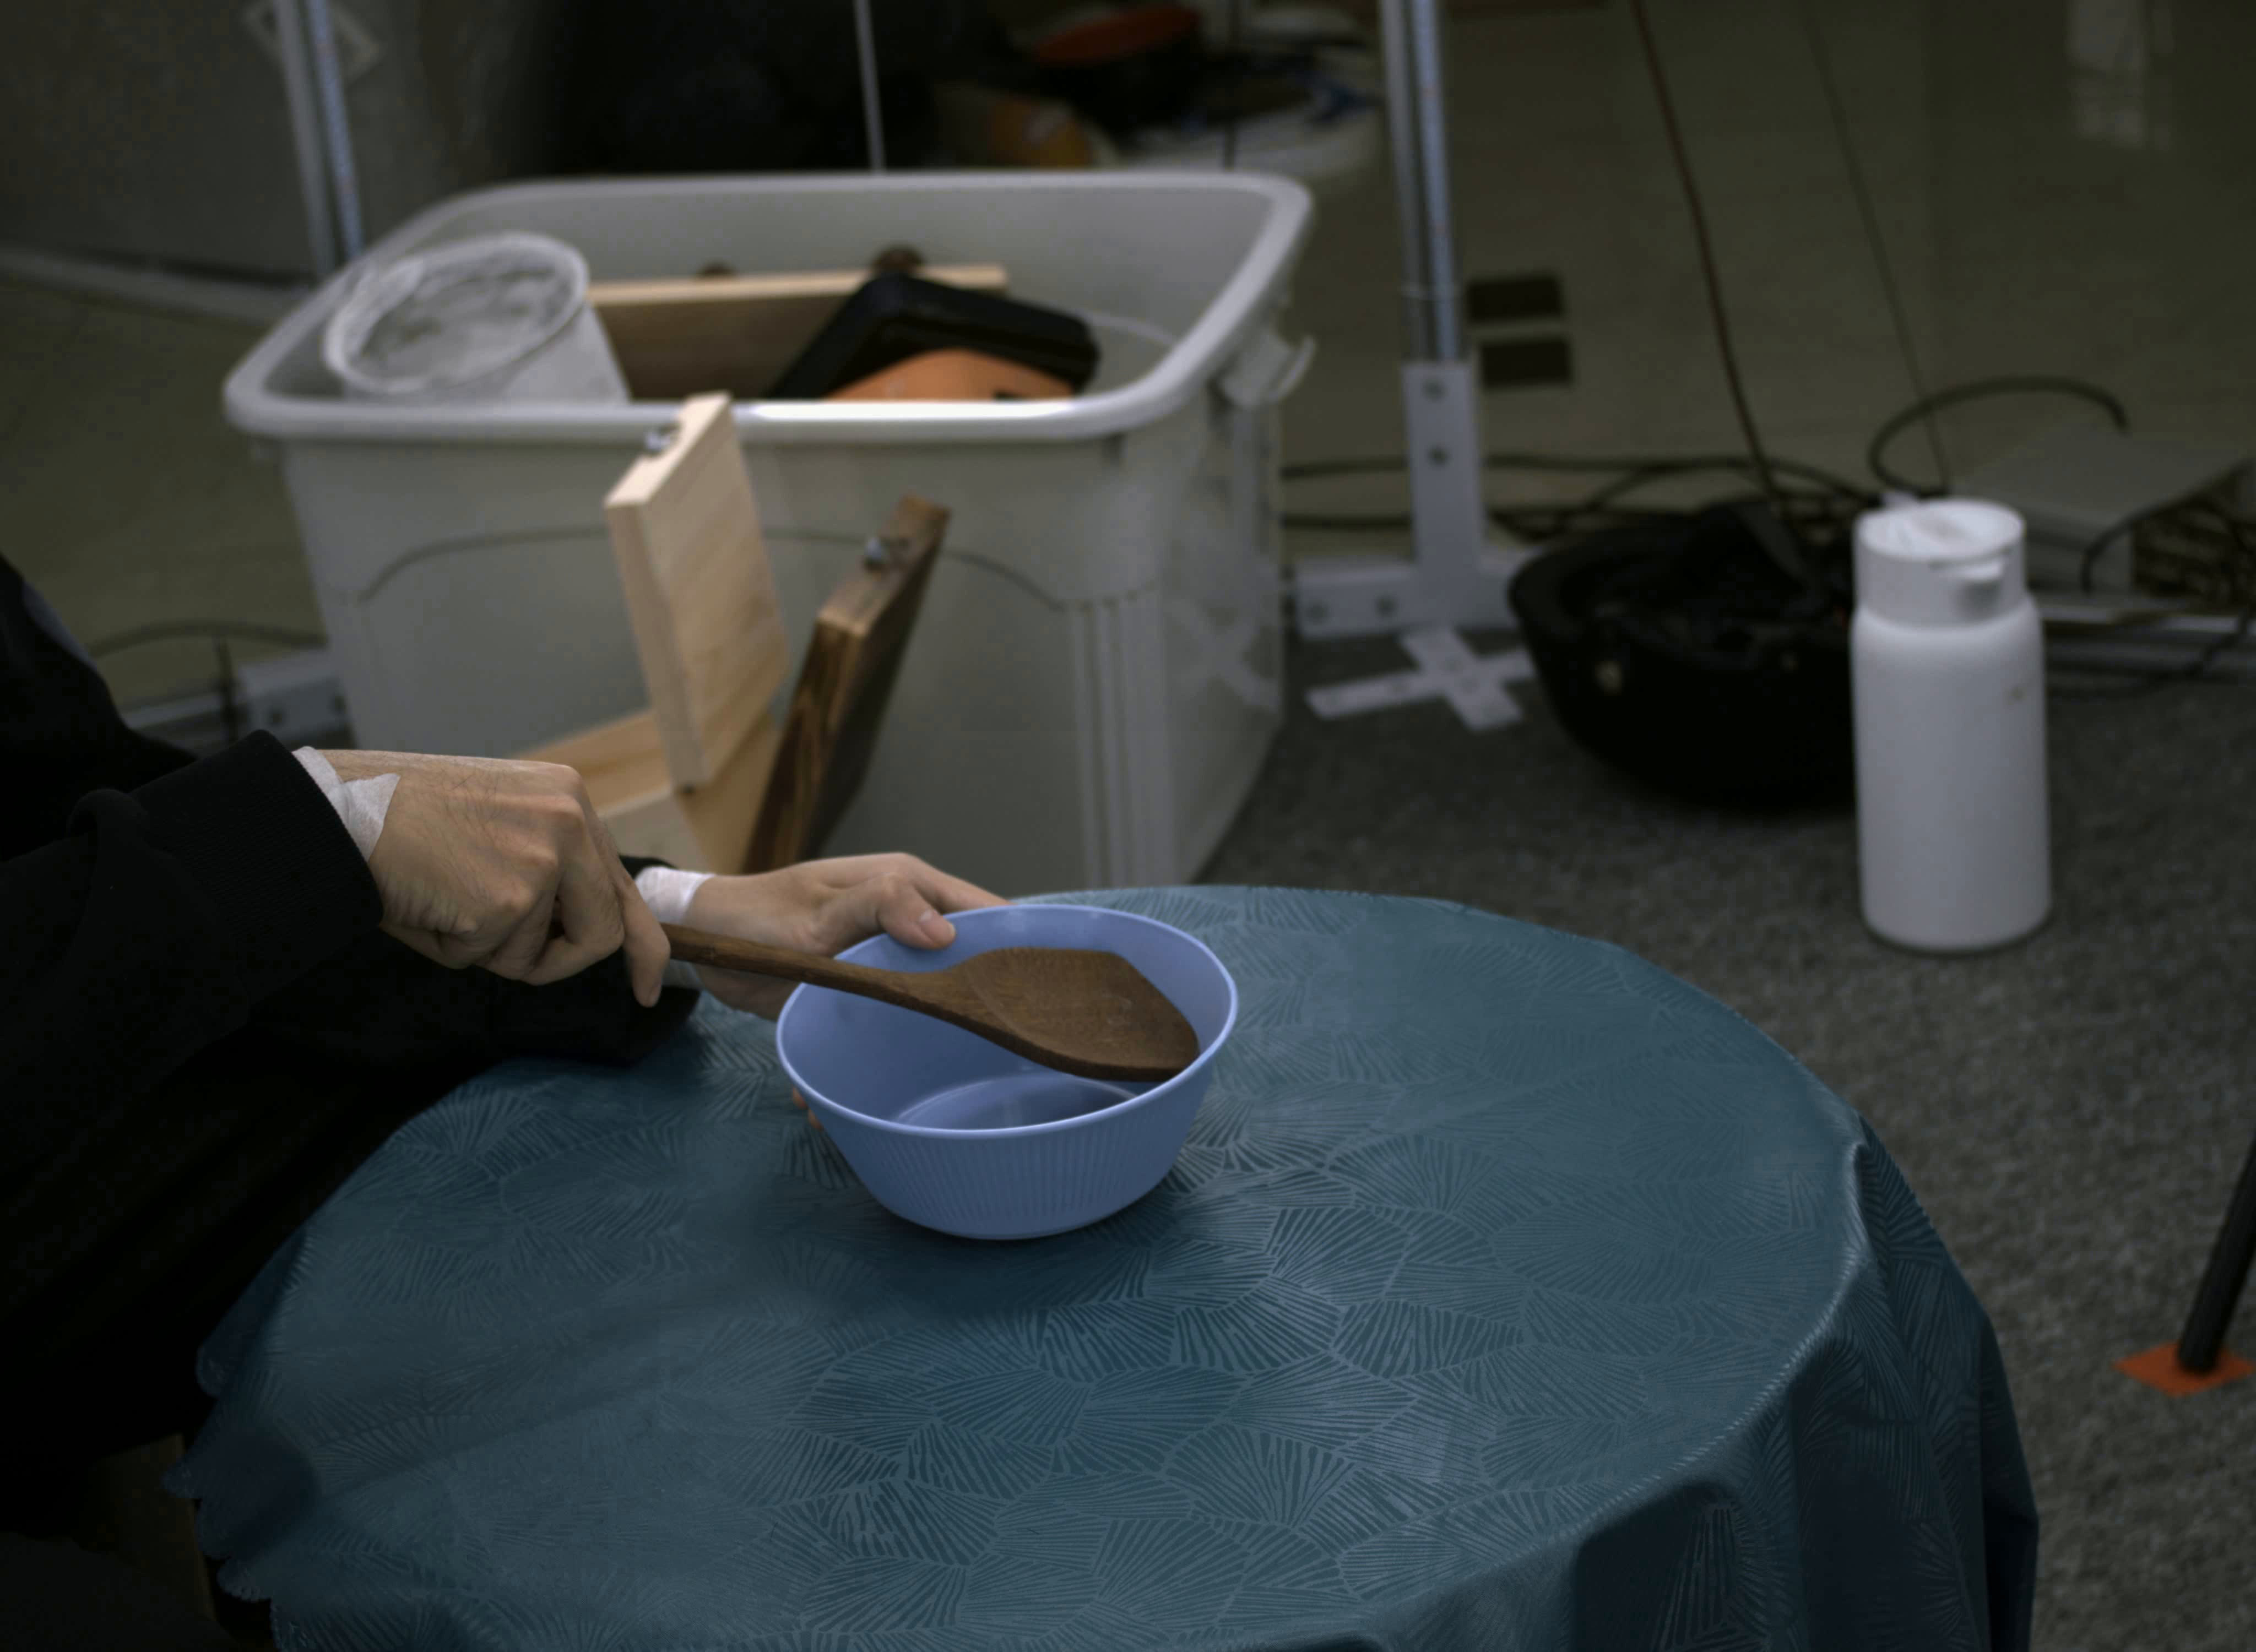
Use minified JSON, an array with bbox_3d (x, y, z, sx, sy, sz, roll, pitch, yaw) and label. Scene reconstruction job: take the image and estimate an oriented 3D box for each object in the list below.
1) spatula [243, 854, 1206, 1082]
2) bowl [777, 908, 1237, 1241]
[{"bbox_3d":[-0.143,0.047,2.075,0.387,0.016,0.094,11,24,-31],"label":"spatula"},{"bbox_3d":[-0.042,0.101,2.151,0.176,0.071,0.173,-6,27,3],"label":"bowl"}]
